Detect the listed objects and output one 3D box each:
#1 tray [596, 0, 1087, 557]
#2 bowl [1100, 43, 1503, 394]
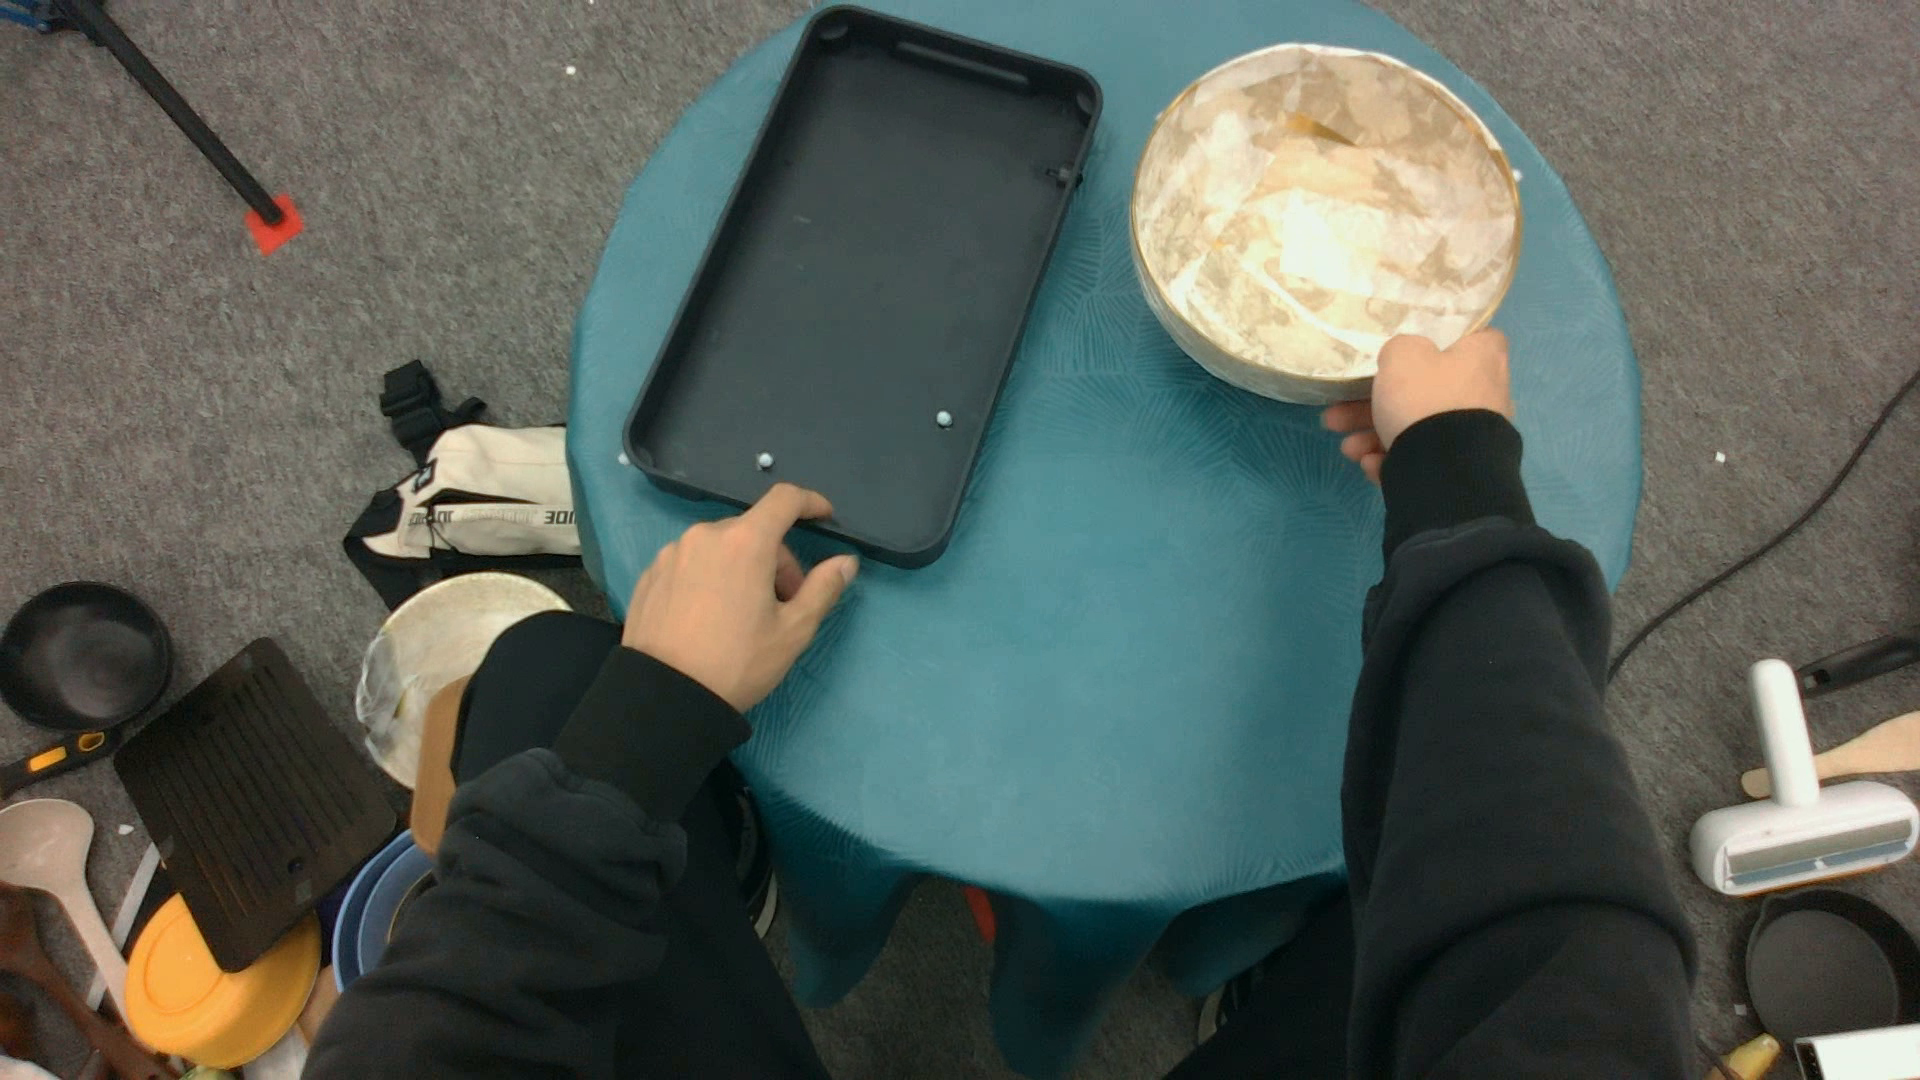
[{"bbox_3d":[-0.059,-0.158,0.776,0.184,0.037,0.319,19,71,5],"label":"tray"},{"bbox_3d":[0.174,-0.159,0.753,0.215,0.094,0.215,1,69,-2],"label":"bowl"}]
